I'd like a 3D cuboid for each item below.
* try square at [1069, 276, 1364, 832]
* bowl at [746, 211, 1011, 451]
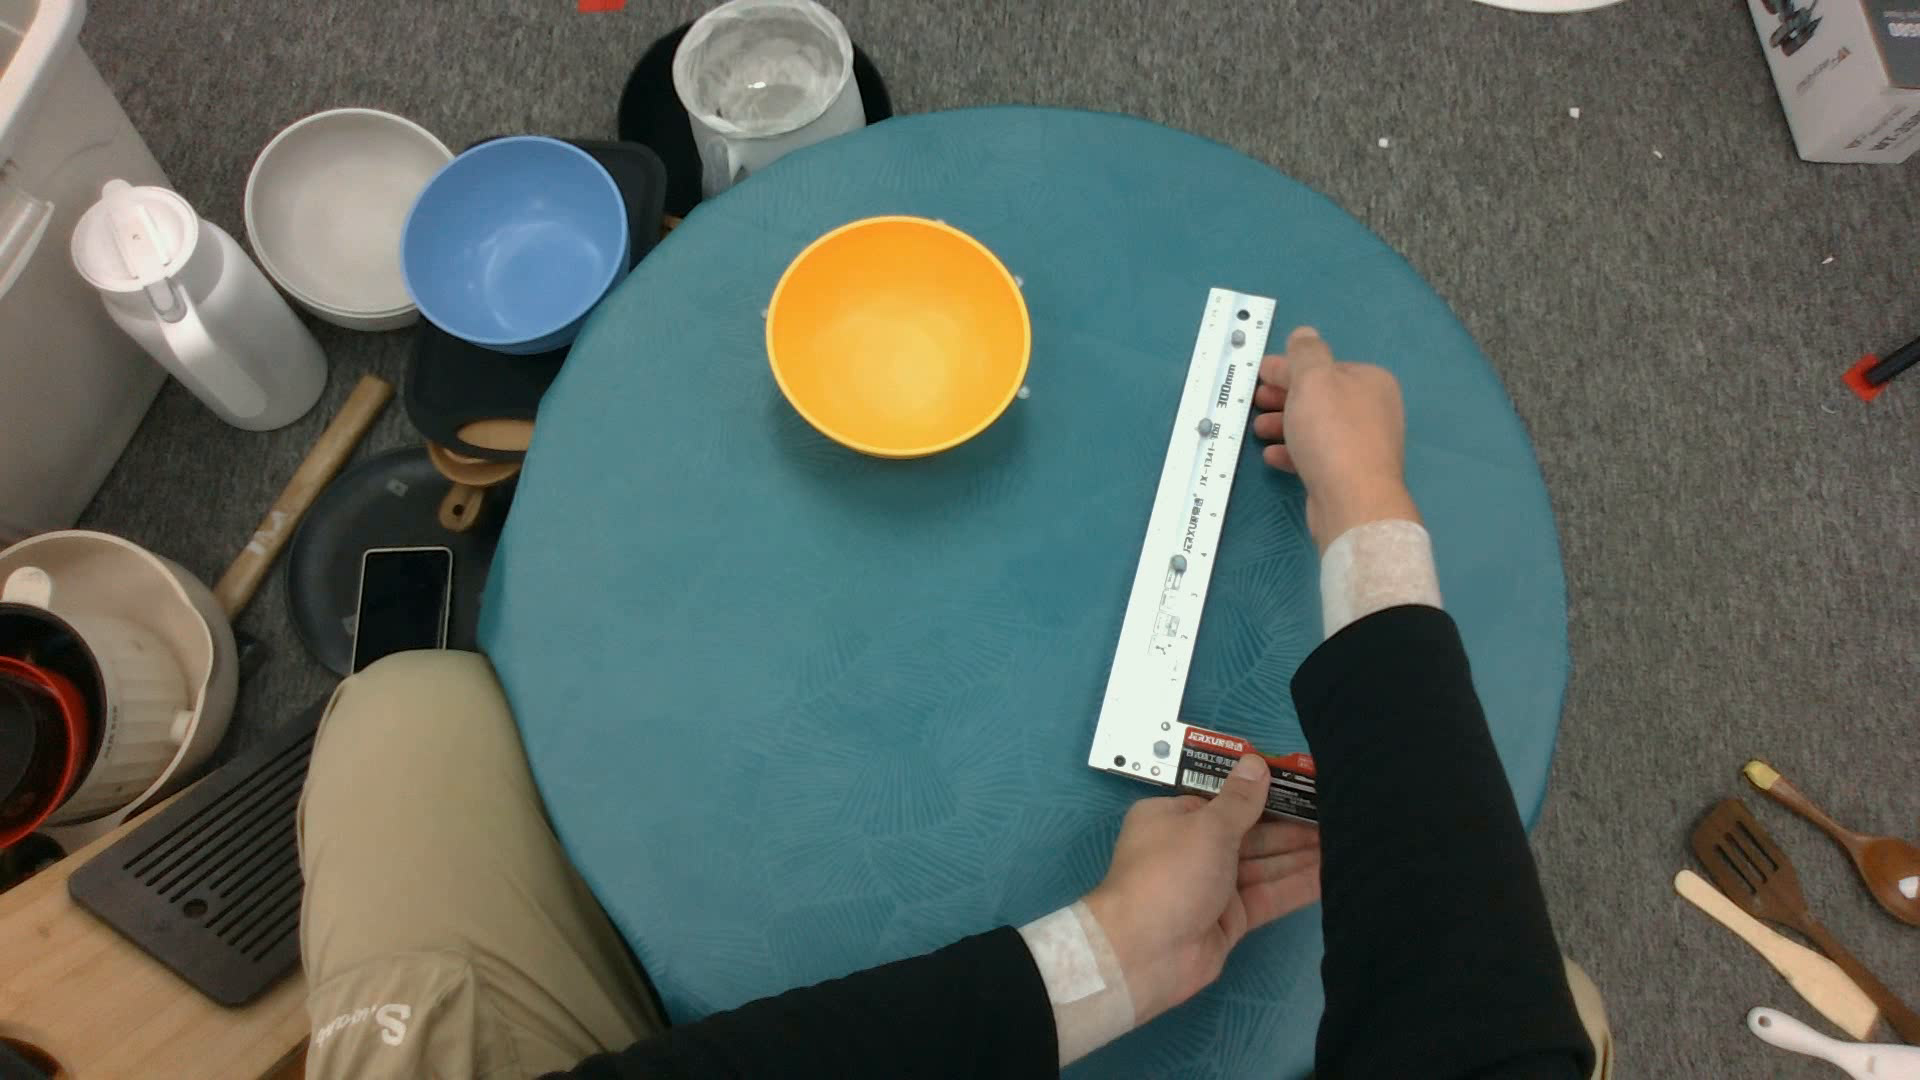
[{"bbox_3d":[0.169,-0.005,0.776,0.152,0.016,0.314,14,67,6],"label":"try square"},{"bbox_3d":[-0.045,-0.109,0.780,0.145,0.060,0.145,1,72,-2],"label":"bowl"}]
